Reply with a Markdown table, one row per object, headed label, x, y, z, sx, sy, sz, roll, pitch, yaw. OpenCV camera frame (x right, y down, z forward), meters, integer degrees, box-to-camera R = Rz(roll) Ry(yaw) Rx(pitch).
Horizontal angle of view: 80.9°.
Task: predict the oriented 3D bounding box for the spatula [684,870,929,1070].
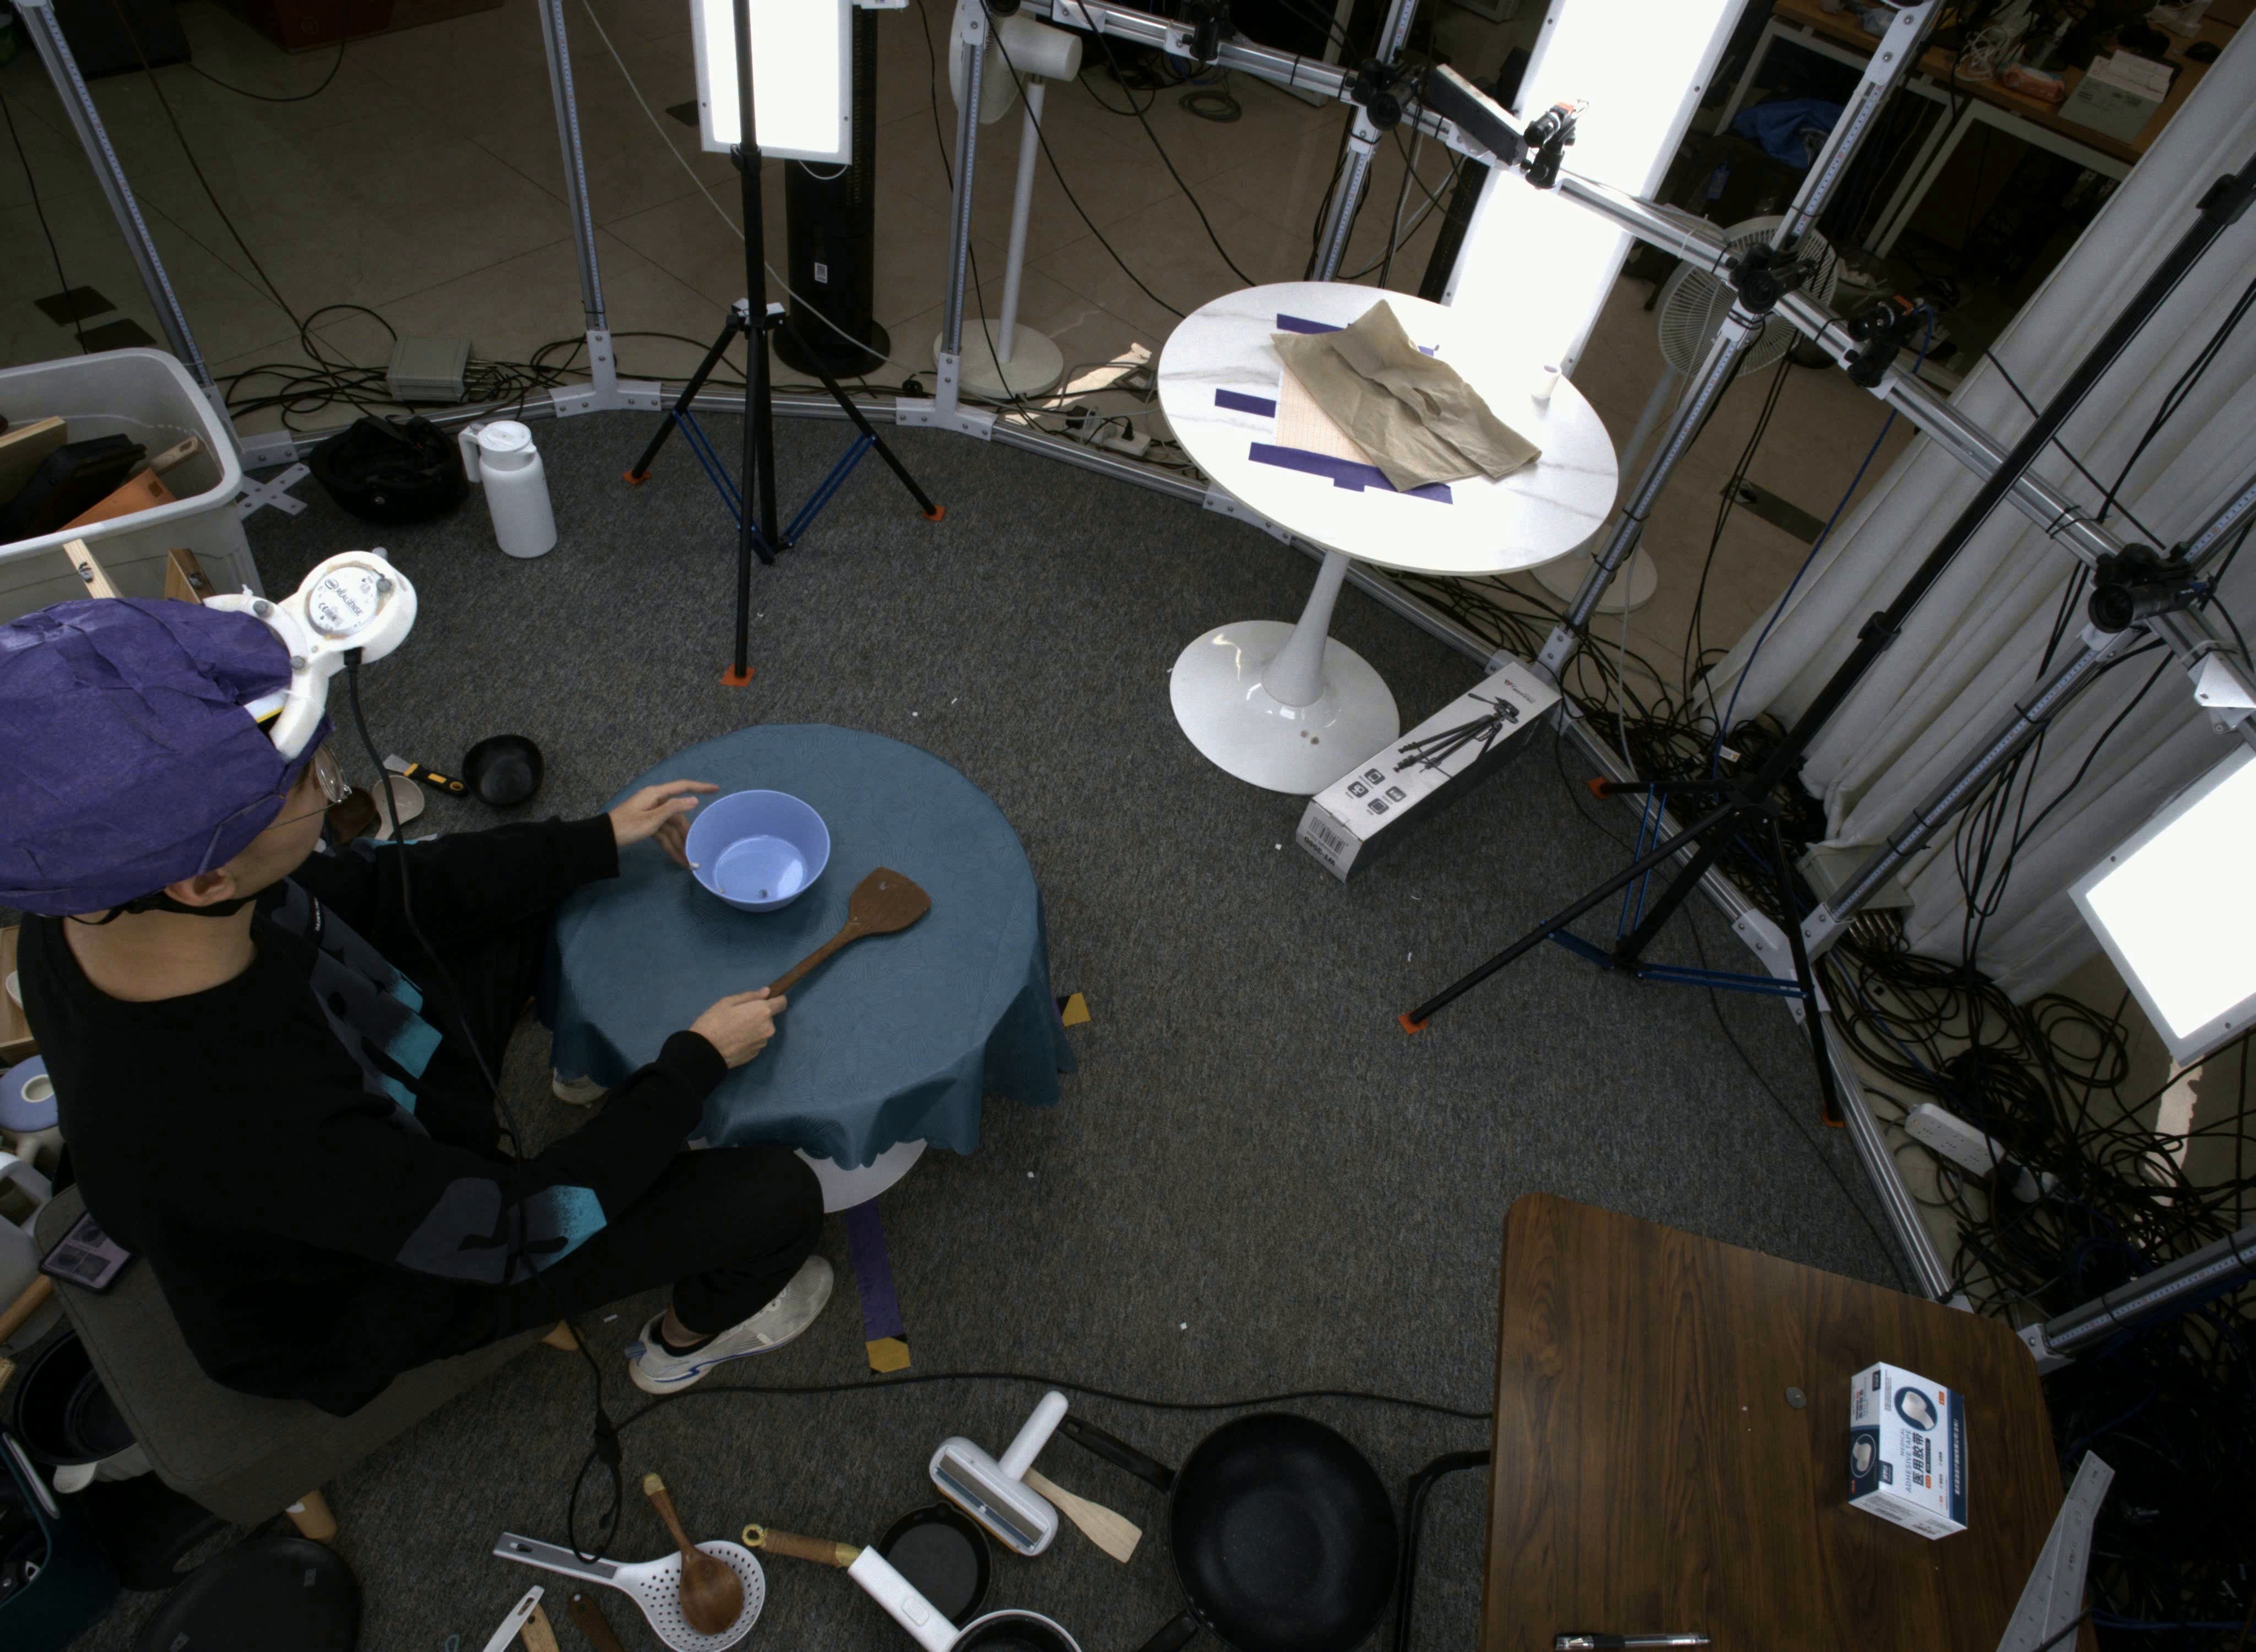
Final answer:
| label | x | y | z | sx | sy | sz | roll | pitch | yaw |
| --- | --- | --- | --- | --- | --- | --- | --- | --- | --- |
| spatula | -0.392 | 0.170 | 1.579 | 0.094 | 0.016 | 0.386 | 34 | 46 | 15 |

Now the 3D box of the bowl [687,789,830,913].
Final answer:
| label | x | y | z | sx | sy | sz | roll | pitch | yaw |
| --- | --- | --- | --- | --- | --- | --- | --- | --- | --- |
| bowl | -0.466 | 0.041 | 1.643 | 0.175 | 0.072 | 0.173 | 7 | 53 | -8 |
